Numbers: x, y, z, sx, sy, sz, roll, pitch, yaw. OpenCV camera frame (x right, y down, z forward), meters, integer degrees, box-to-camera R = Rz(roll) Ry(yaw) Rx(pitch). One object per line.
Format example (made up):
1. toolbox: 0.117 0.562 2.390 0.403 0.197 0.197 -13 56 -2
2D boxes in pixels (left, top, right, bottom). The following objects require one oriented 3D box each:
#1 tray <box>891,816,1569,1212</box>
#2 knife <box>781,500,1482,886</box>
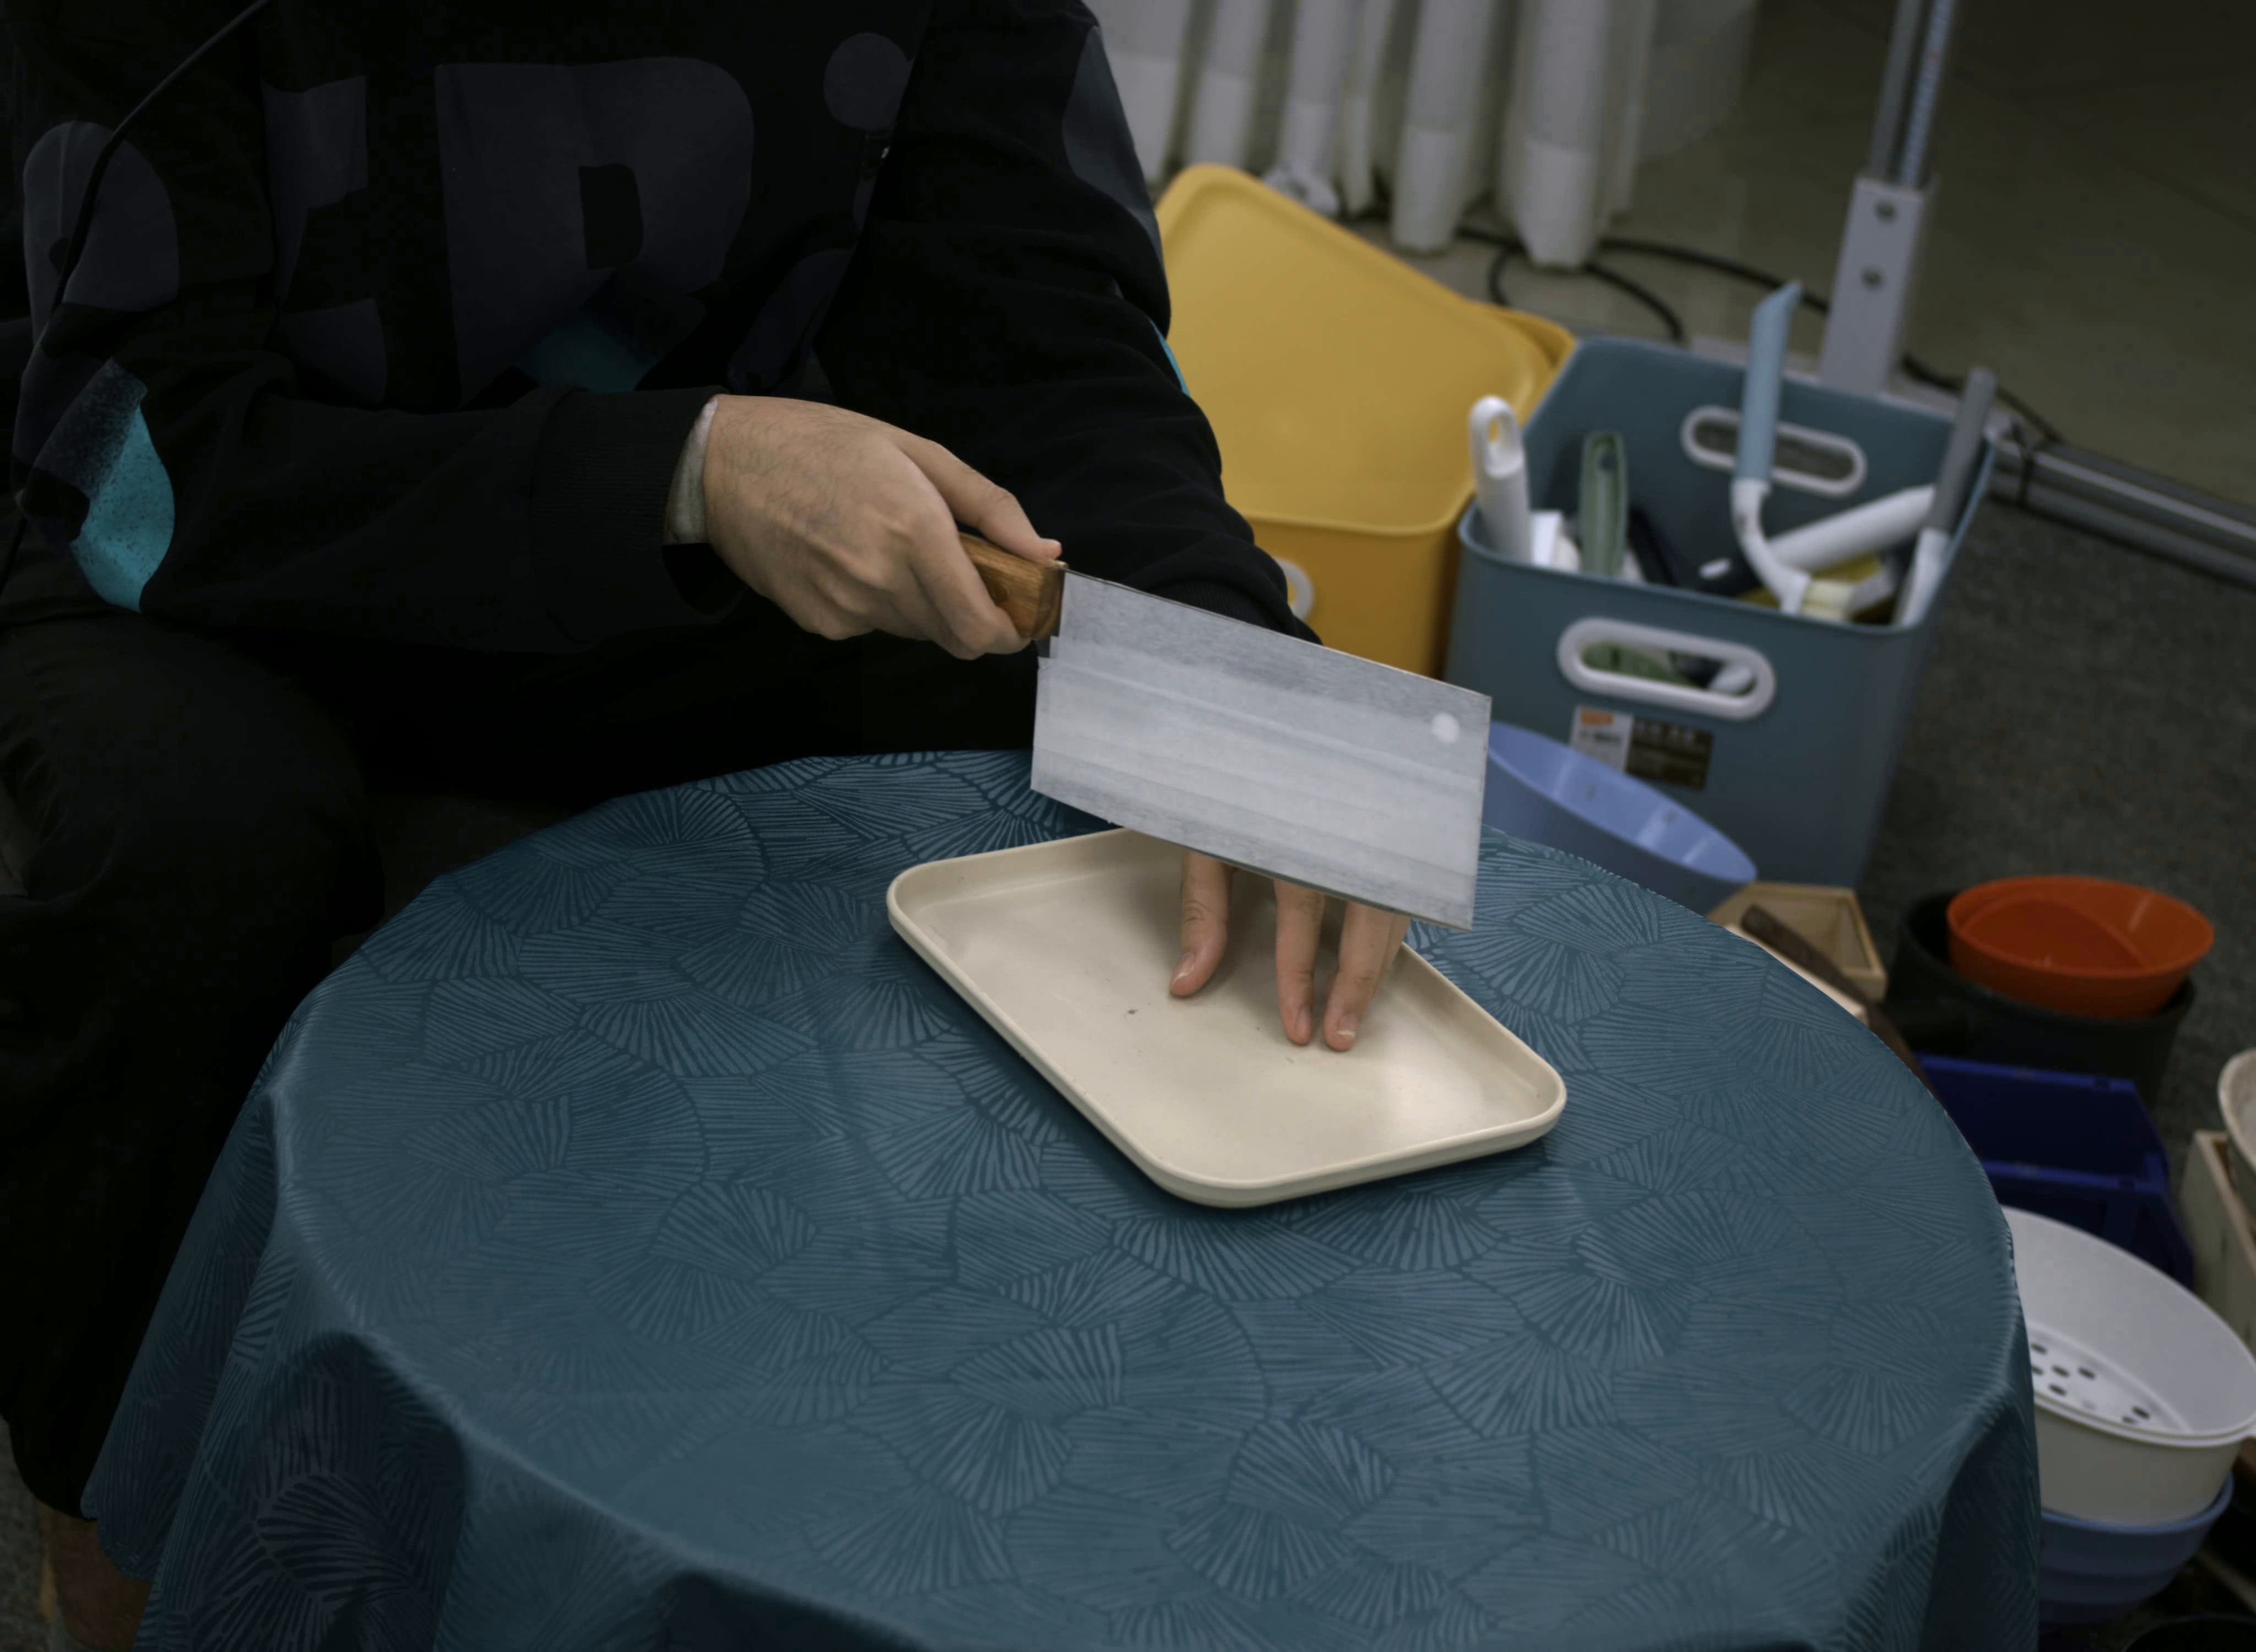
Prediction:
1. tray: 0.033 0.065 1.903 0.170 0.017 0.242 -11 32 -28
2. knife: -0.003 -0.046 1.904 0.307 0.092 0.021 18 27 32
